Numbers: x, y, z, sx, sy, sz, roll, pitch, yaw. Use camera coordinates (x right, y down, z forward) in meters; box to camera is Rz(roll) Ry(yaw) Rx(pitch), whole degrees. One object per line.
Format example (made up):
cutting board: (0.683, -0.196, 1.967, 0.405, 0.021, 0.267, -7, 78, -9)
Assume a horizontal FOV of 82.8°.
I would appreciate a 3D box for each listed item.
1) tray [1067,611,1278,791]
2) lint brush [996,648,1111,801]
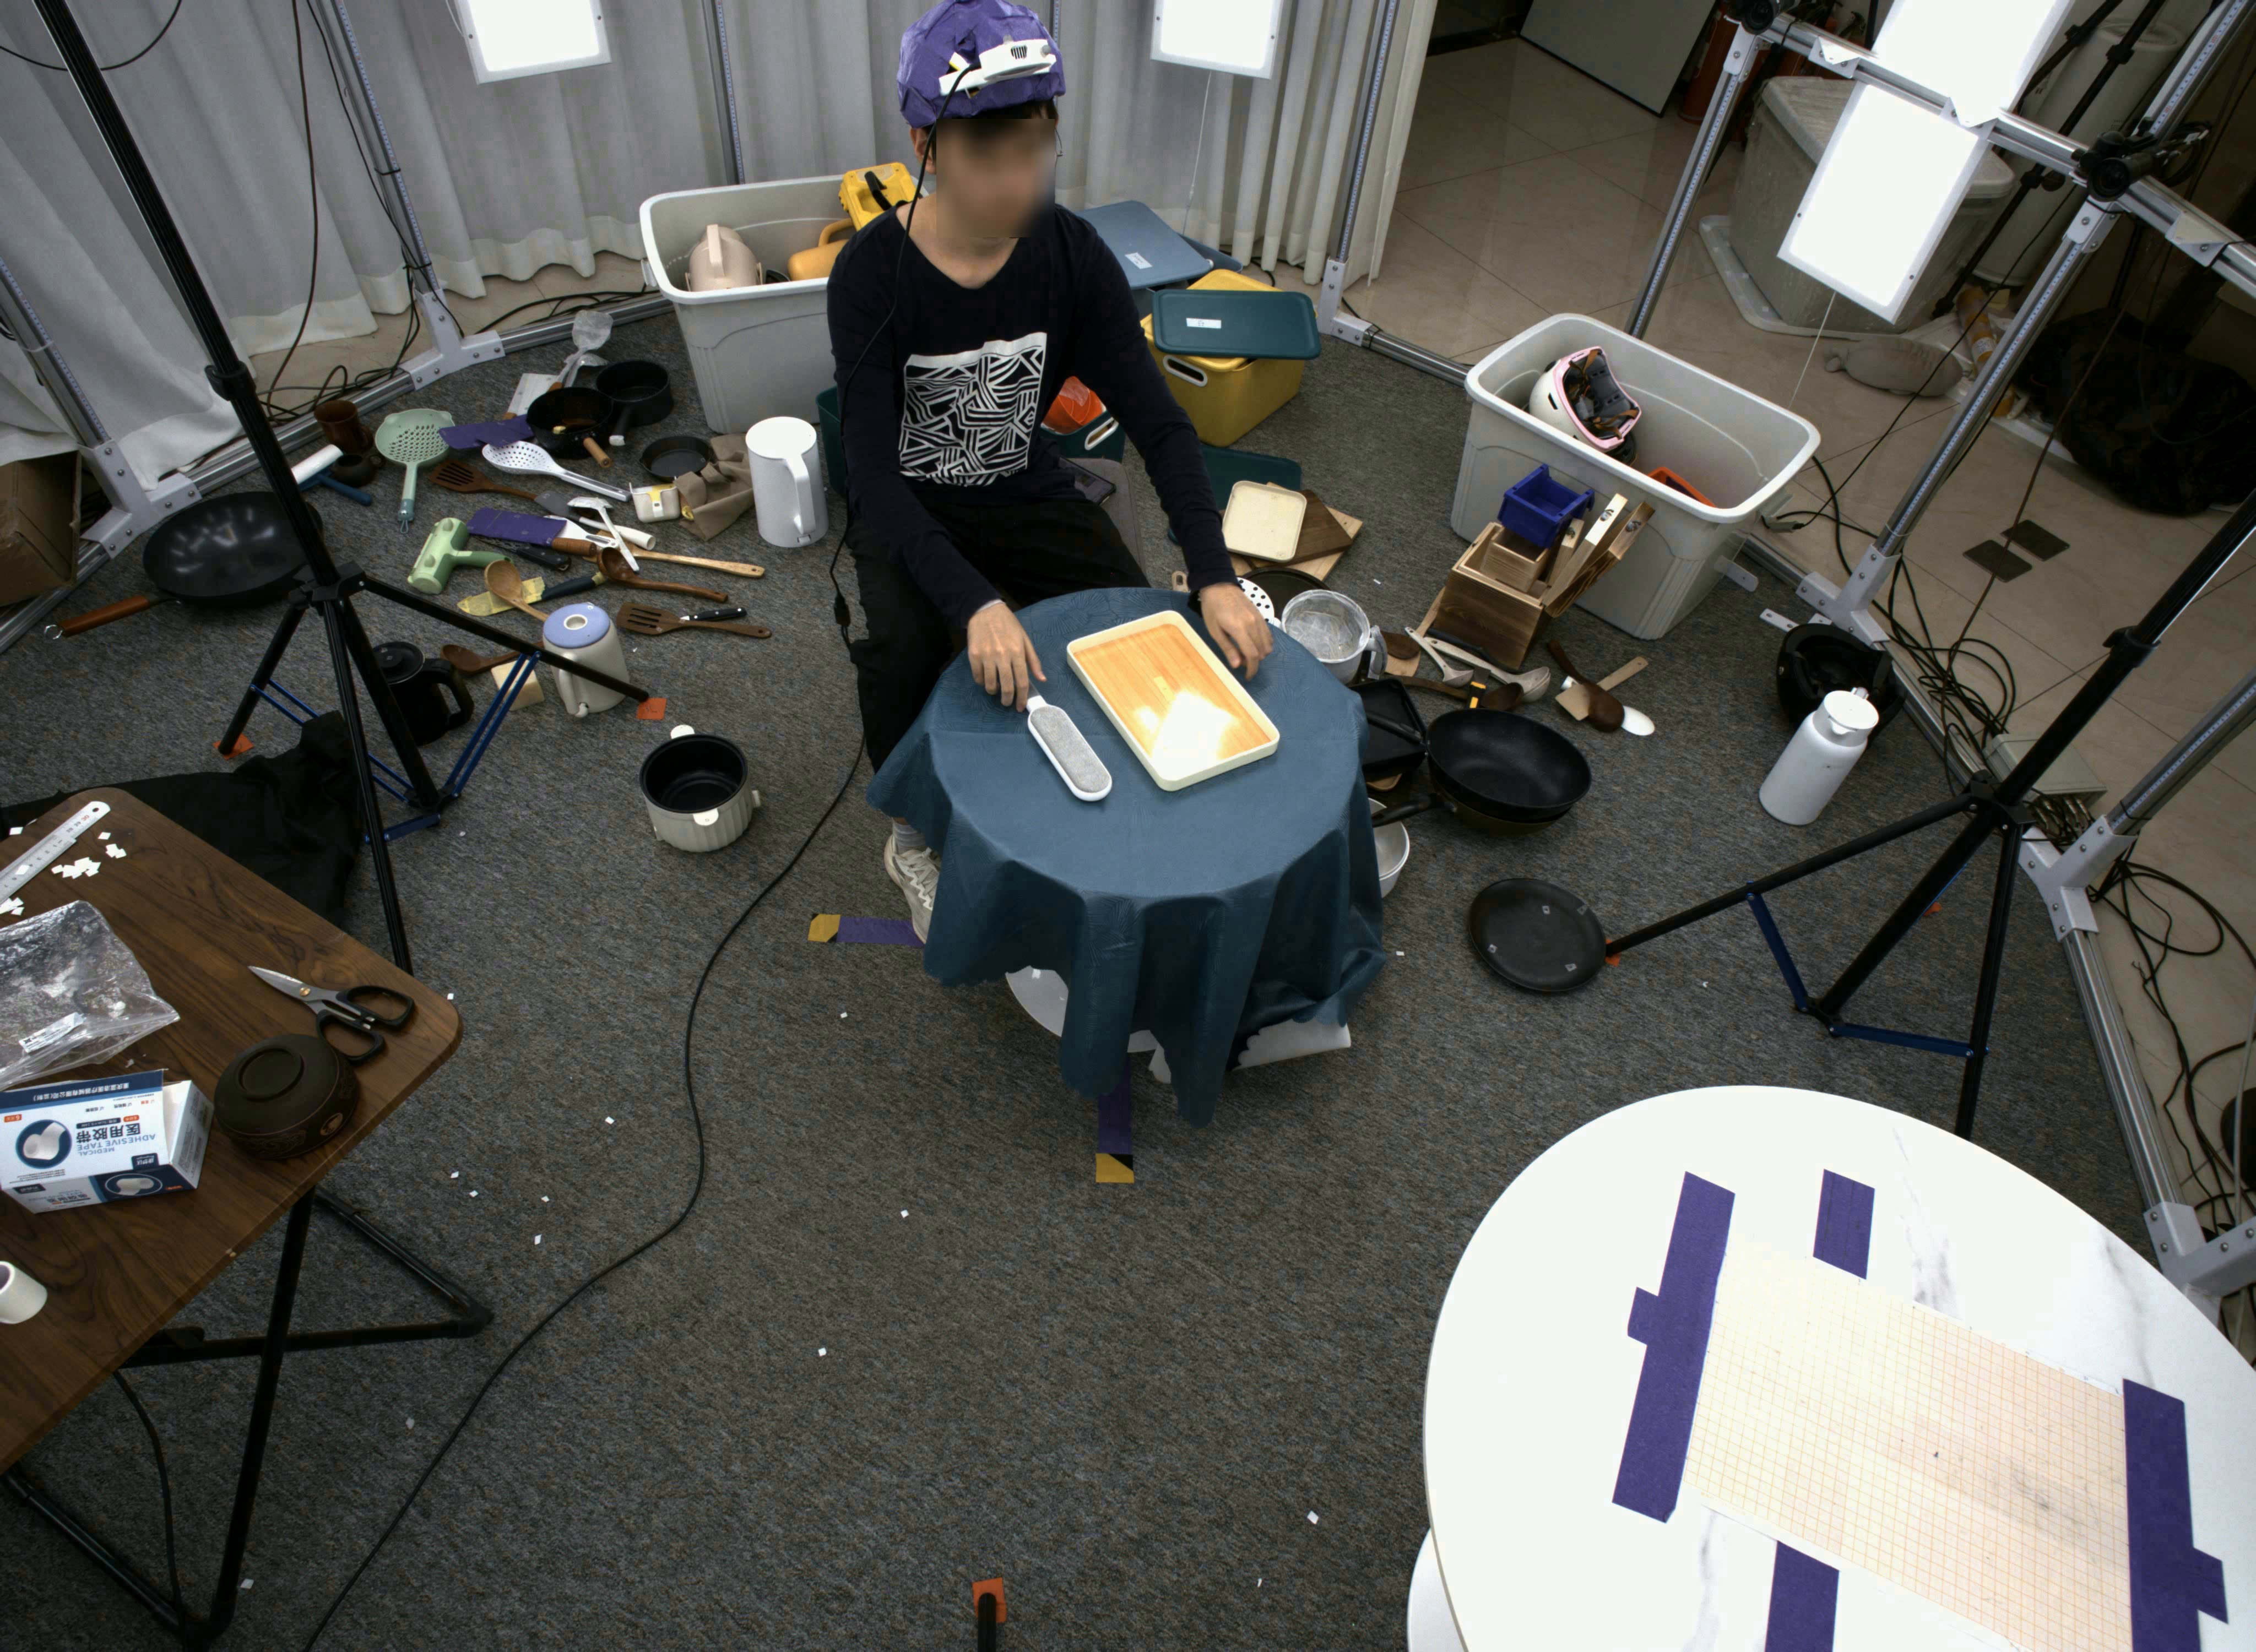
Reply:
tray: (0.058, -0.183, 1.813, 0.192, 0.027, 0.307, -20, 53, -20)
lint brush: (-0.109, -0.146, 1.769, 0.060, 0.020, 0.315, -23, 54, -16)
